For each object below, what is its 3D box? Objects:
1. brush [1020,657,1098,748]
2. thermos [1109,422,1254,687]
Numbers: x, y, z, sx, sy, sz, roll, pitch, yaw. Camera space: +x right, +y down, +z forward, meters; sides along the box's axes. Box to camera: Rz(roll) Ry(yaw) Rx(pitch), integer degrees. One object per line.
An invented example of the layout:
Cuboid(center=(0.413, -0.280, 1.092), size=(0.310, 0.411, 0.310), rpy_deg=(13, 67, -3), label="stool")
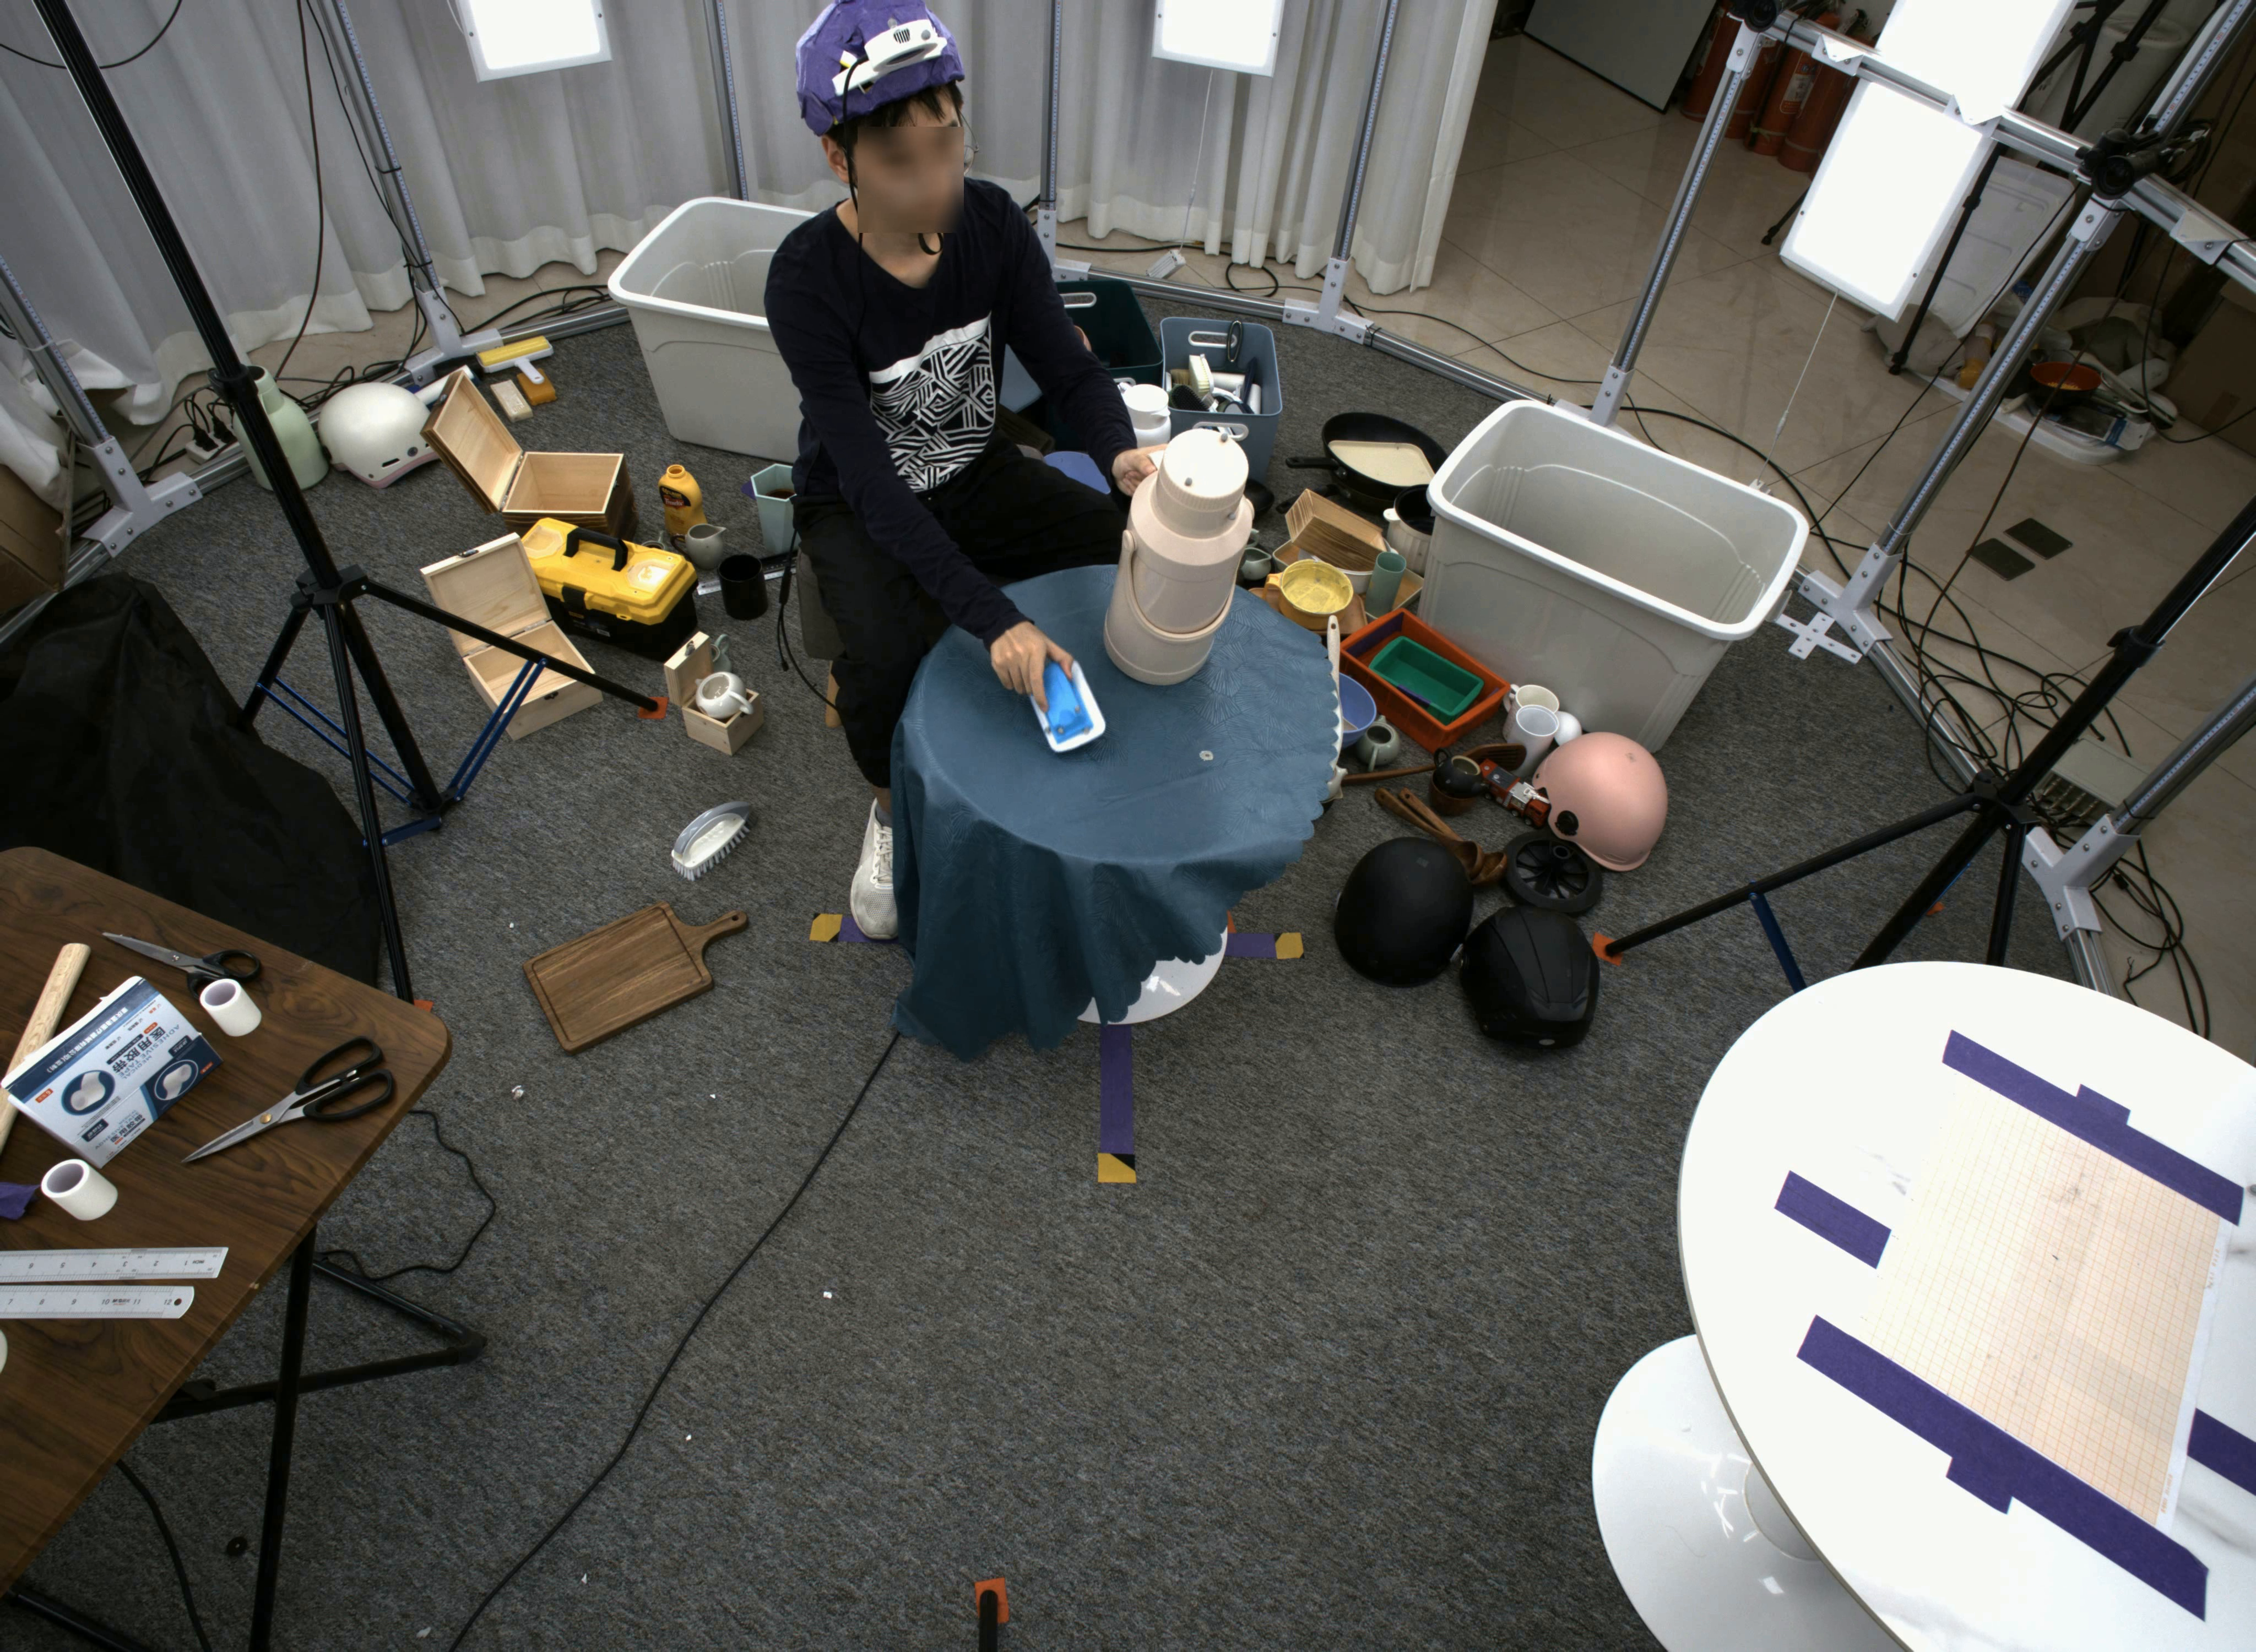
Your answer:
Cuboid(center=(-0.097, -0.177, 1.757), size=(0.084, 0.054, 0.147), rpy_deg=(-20, 58, -2), label="brush")
Cuboid(center=(0.066, -0.367, 1.713), size=(0.175, 0.398, 0.210), rpy_deg=(-19, 68, -14), label="thermos")
